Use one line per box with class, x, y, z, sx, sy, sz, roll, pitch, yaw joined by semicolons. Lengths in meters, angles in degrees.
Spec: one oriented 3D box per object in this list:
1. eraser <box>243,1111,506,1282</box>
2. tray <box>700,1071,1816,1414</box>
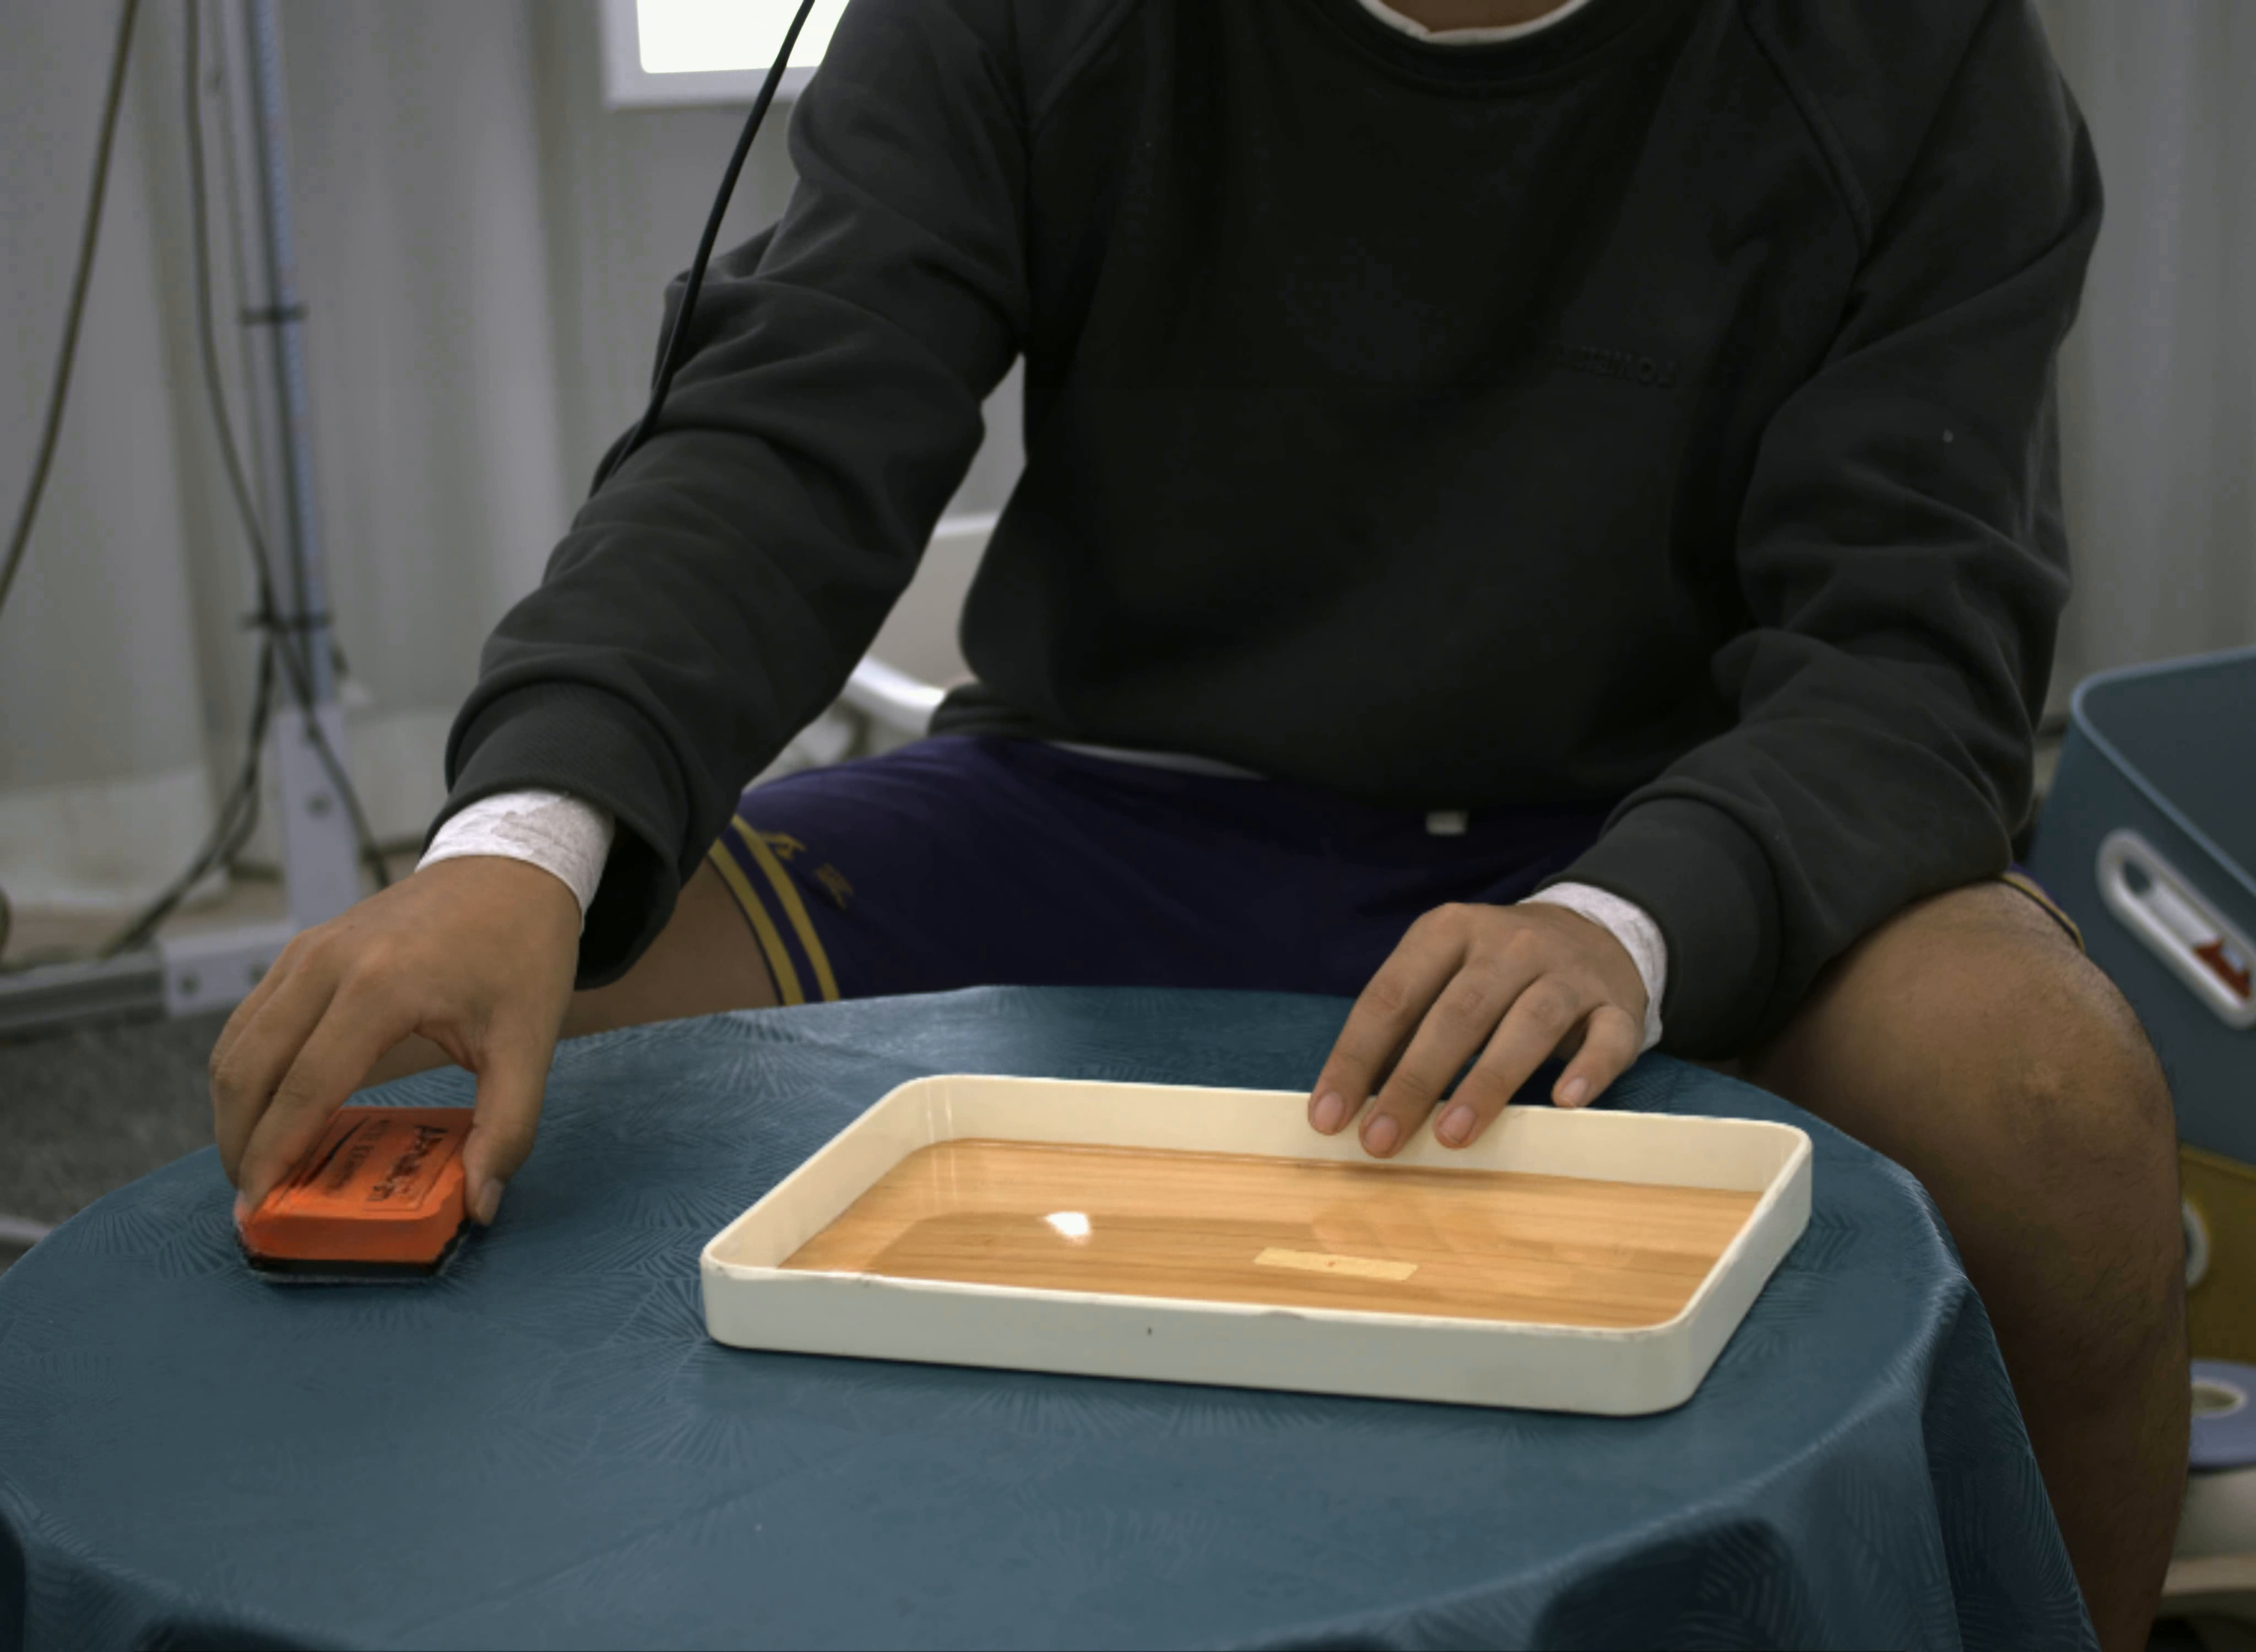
eraser;-0.235;0.116;1.714;0.059;0.023;0.108;0;14;9
tray;0.042;0.122;1.630;0.300;0.027;0.192;3;16;20
